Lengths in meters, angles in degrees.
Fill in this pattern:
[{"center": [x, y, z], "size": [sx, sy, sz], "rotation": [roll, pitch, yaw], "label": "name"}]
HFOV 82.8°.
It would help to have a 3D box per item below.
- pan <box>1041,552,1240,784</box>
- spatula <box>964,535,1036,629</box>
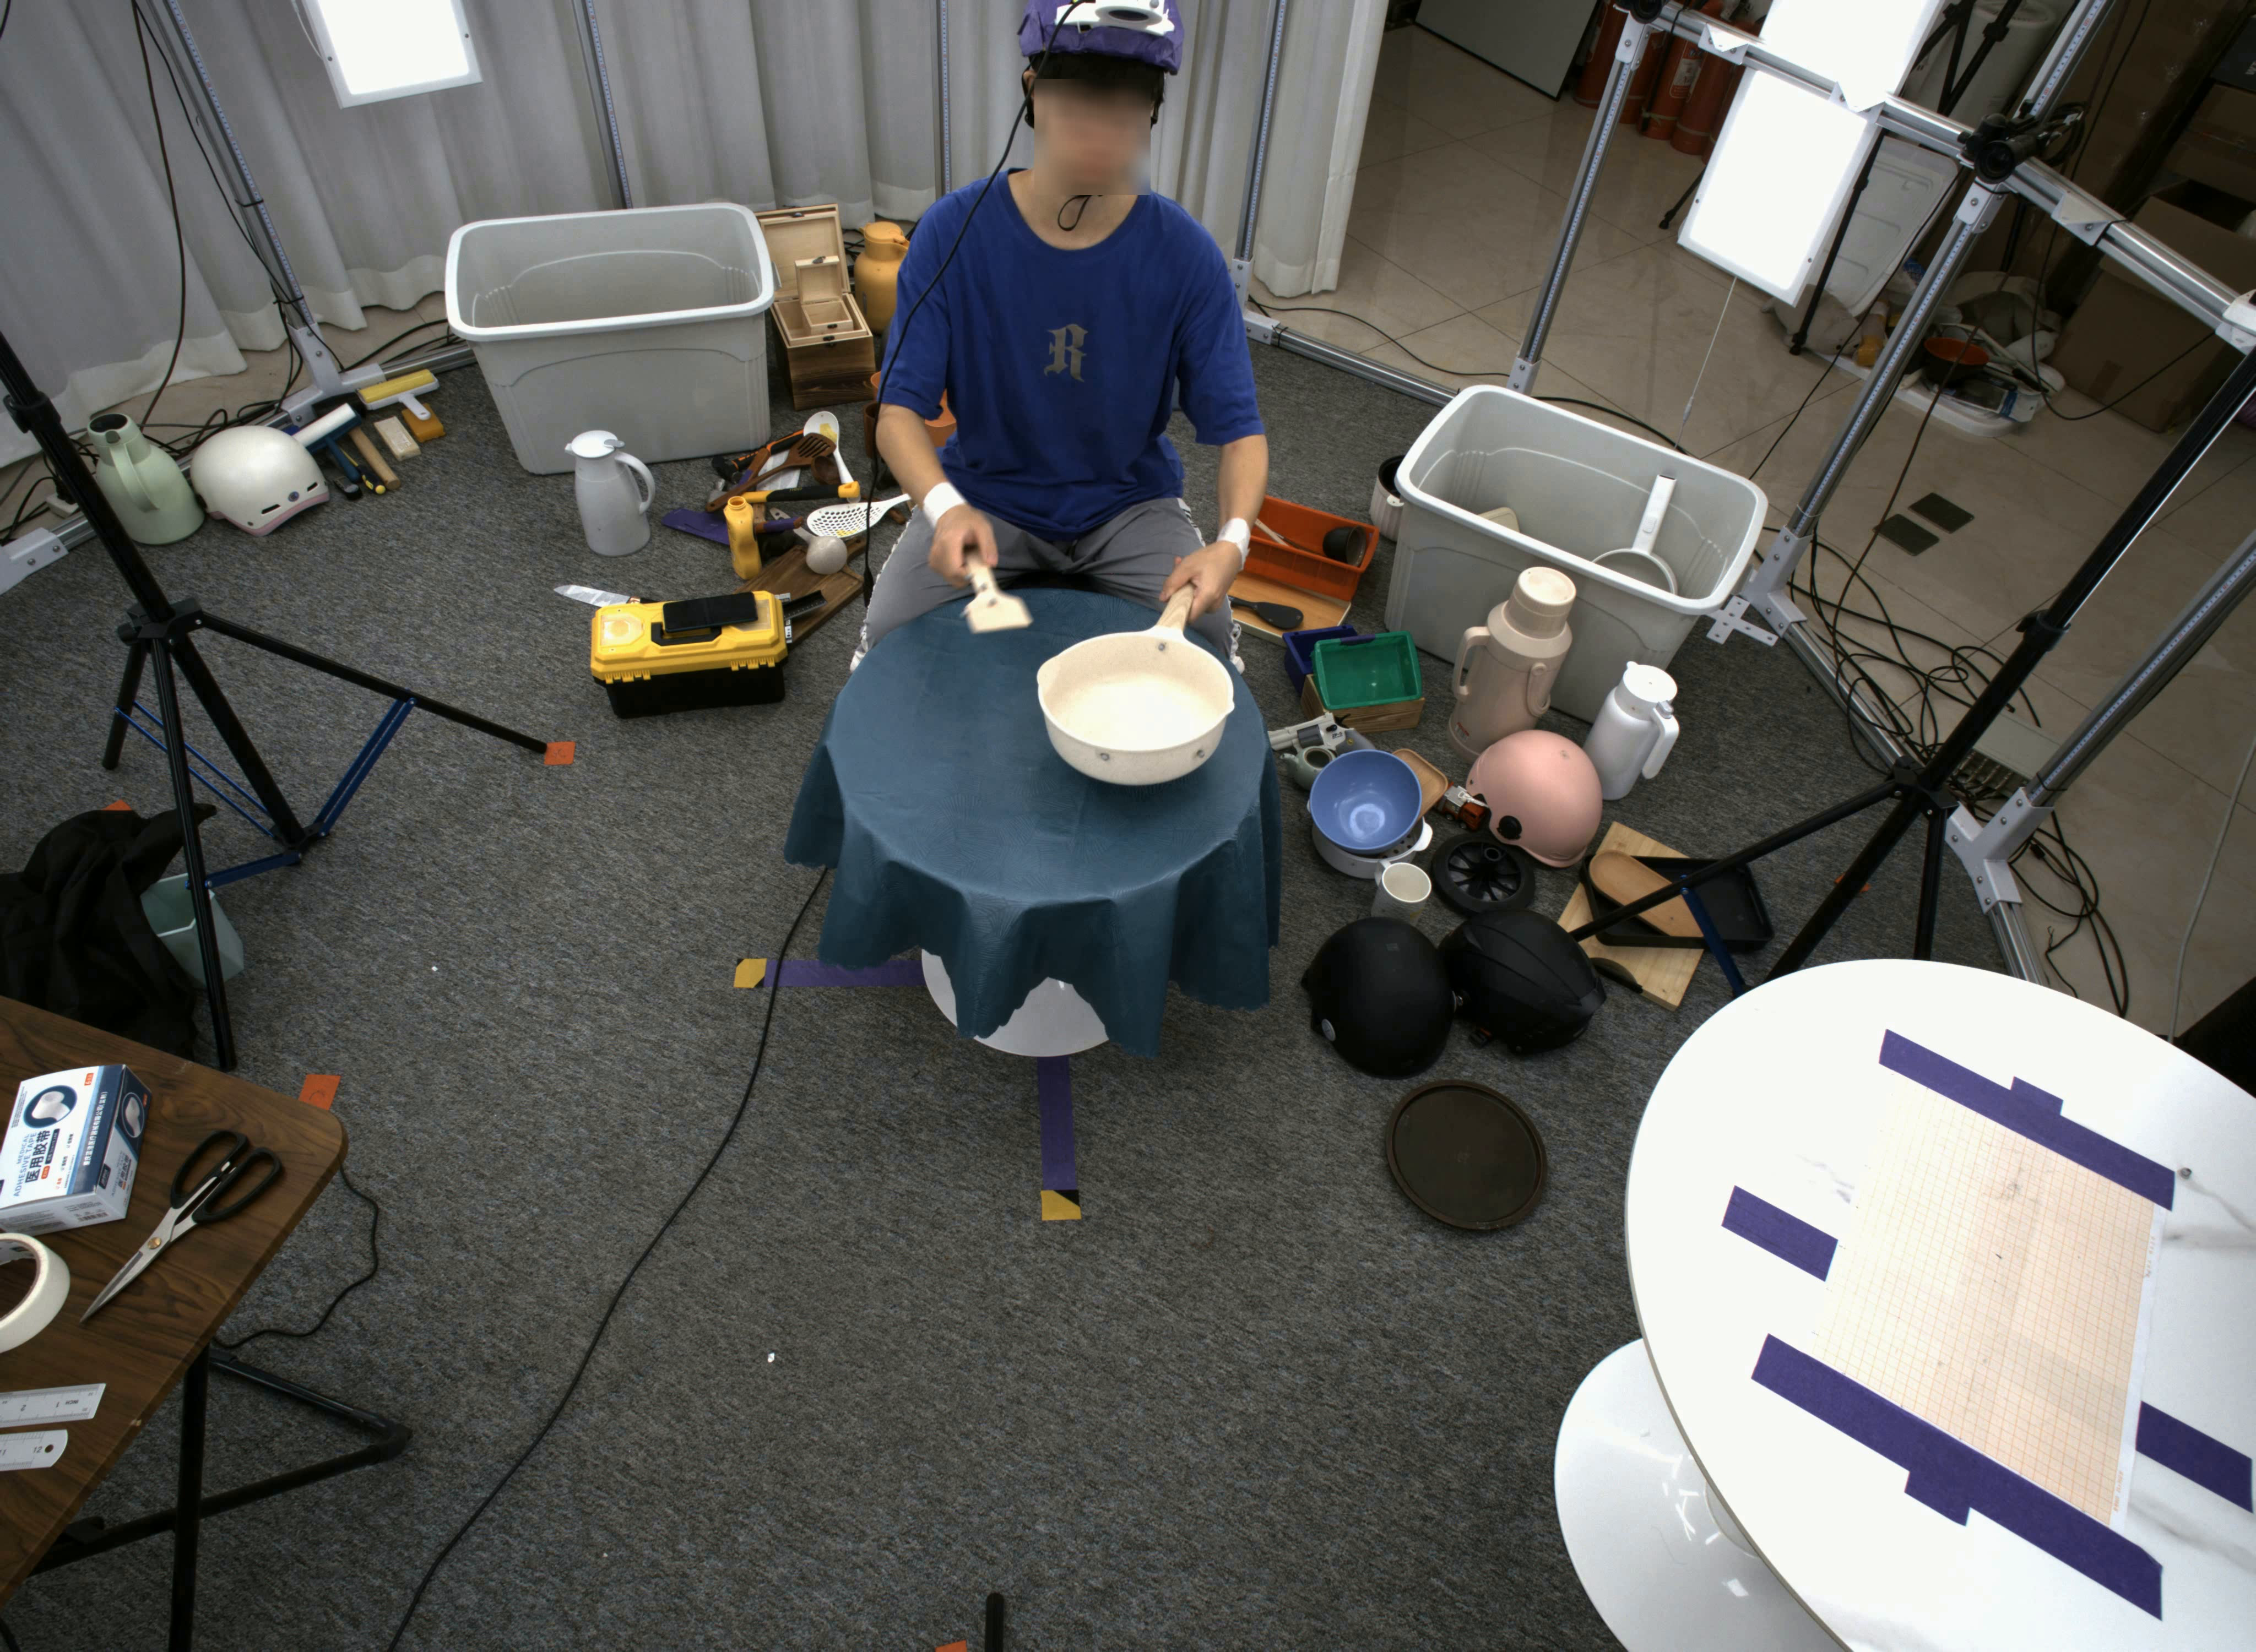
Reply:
[{"center": [0.043, -0.216, 1.741], "size": [0.264, 0.099, 0.444], "rotation": [10, 43, 14], "label": "pan"}, {"center": [-0.181, -0.321, 1.673], "size": [0.072, 0.010, 0.300], "rotation": [-10, 35, -10], "label": "spatula"}]
